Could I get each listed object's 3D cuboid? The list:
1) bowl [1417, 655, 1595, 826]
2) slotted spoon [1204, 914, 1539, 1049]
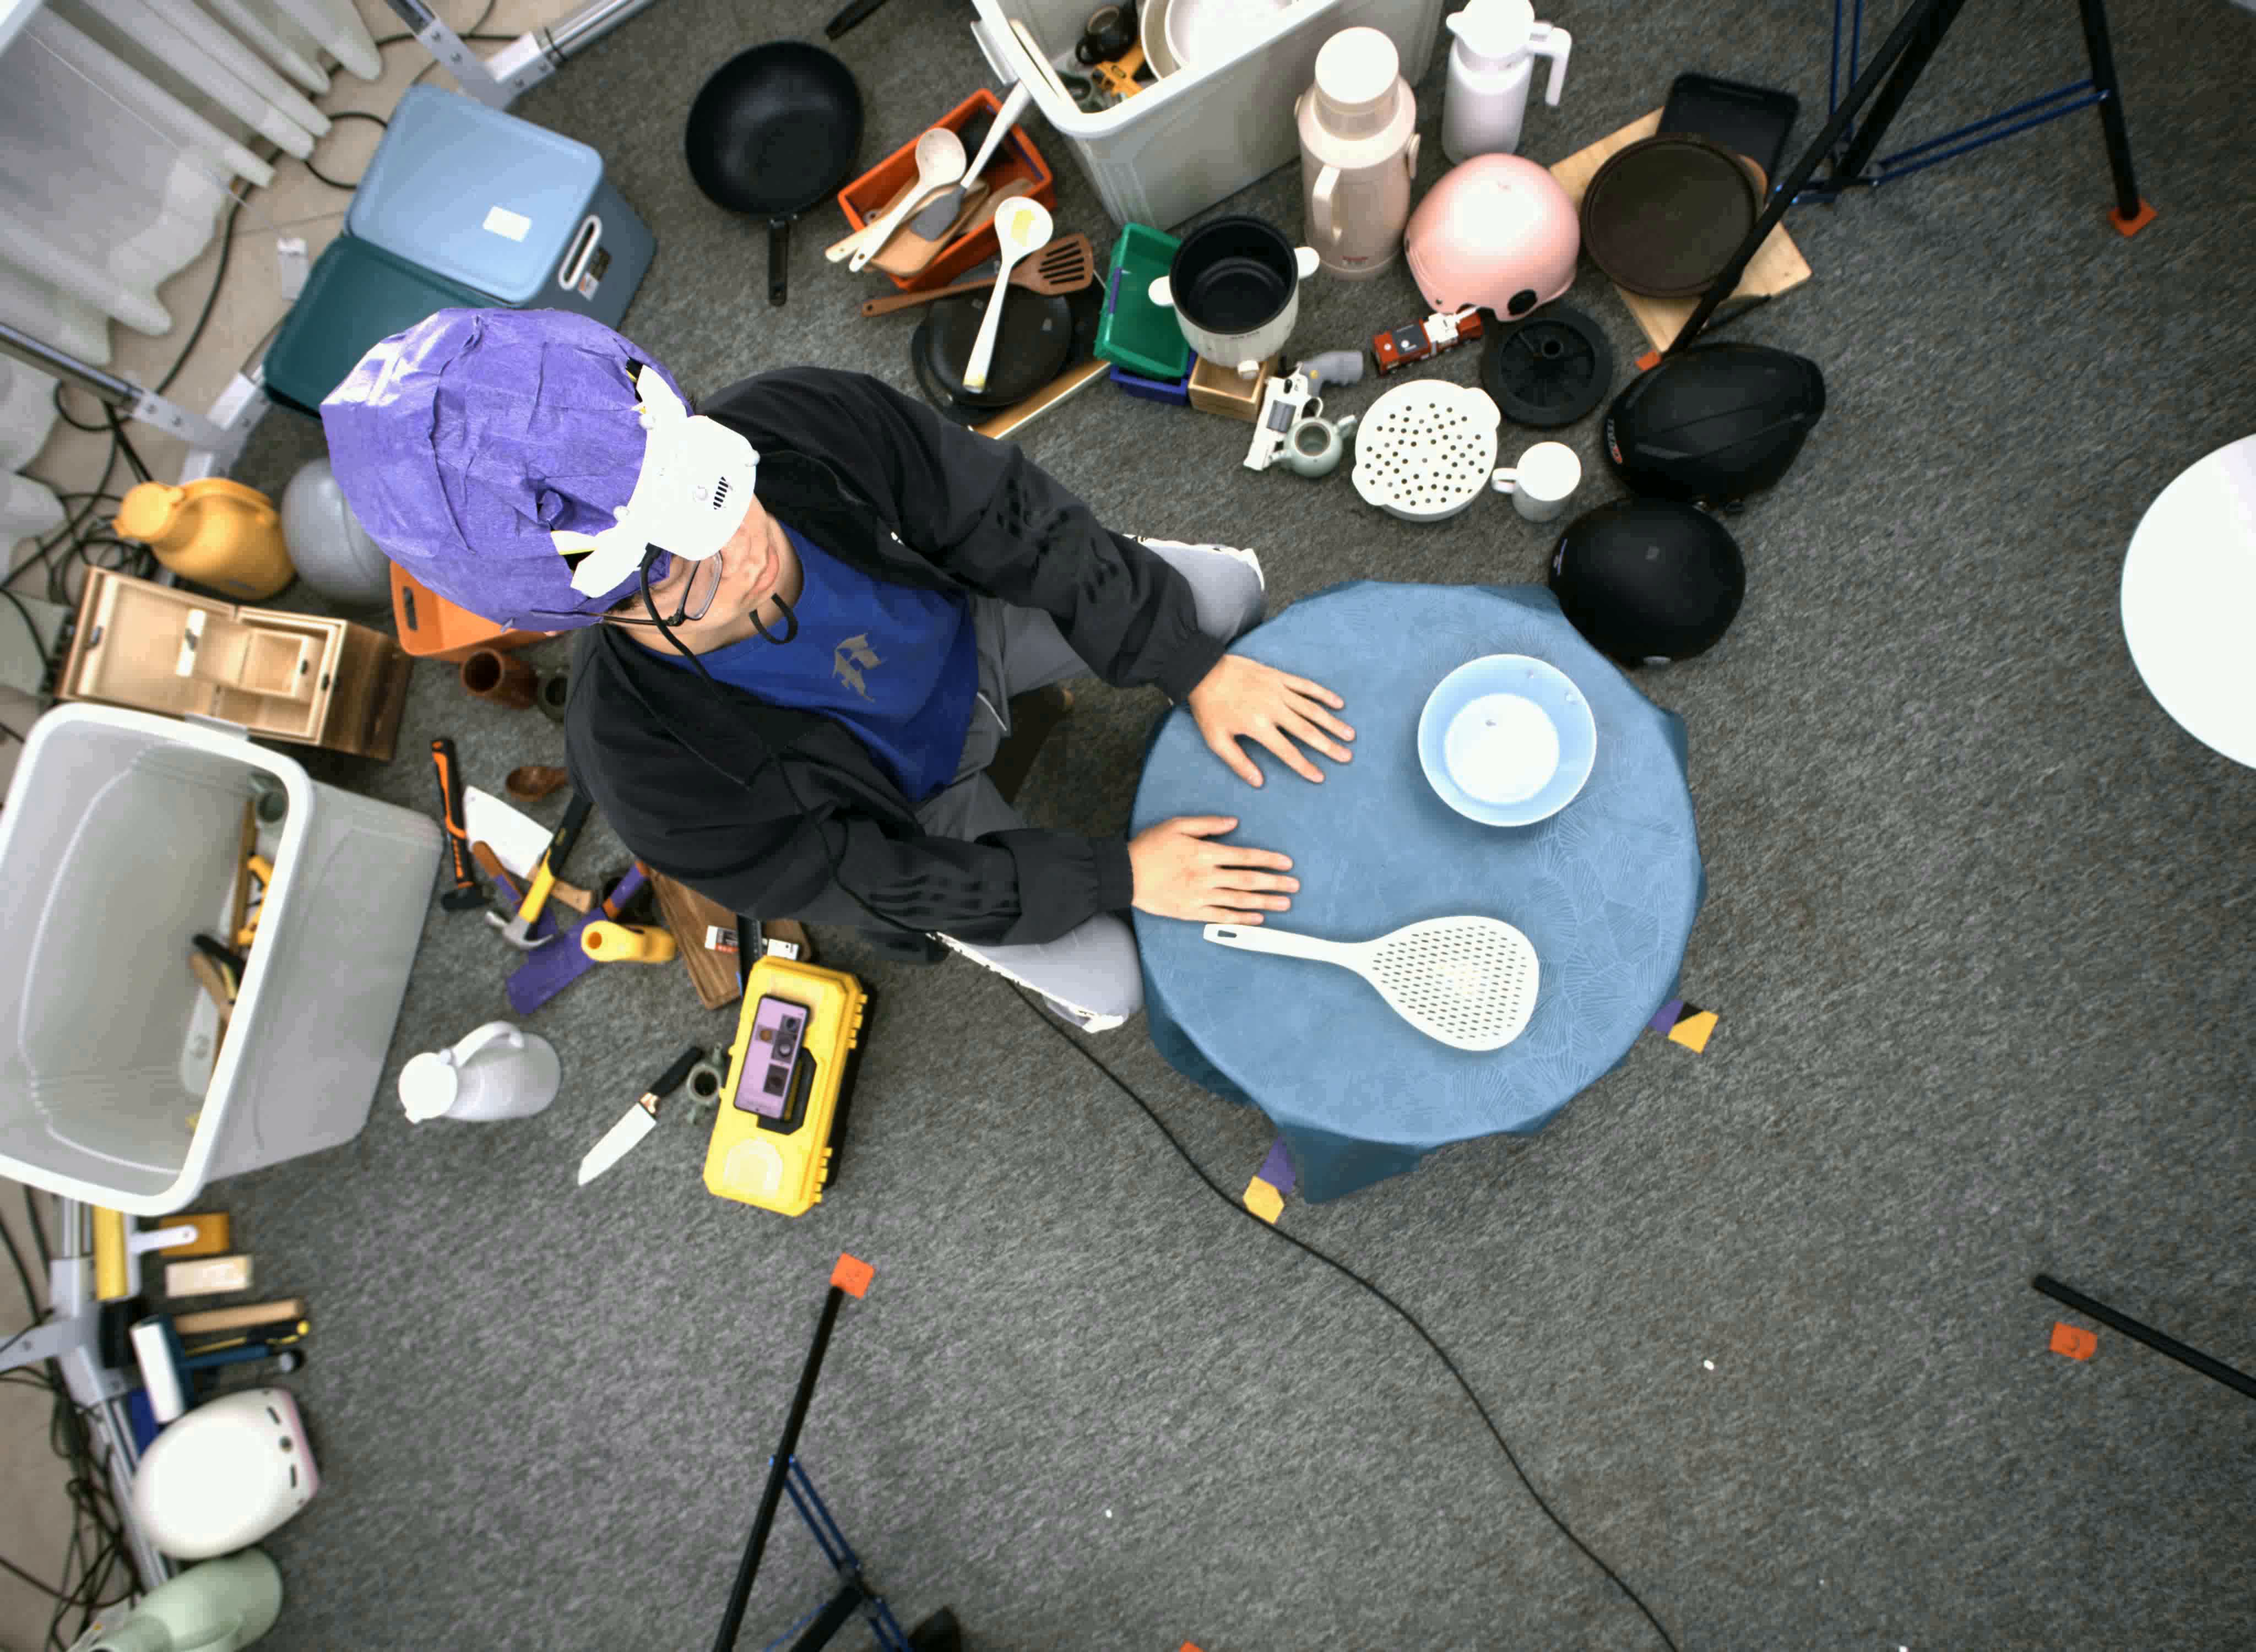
[{"bbox_3d":[0.385,-0.085,1.409,0.177,0.070,0.175,-1,86,11],"label":"bowl"},{"bbox_3d":[0.247,0.139,1.437,0.349,0.050,0.137,9,92,11],"label":"slotted spoon"}]
